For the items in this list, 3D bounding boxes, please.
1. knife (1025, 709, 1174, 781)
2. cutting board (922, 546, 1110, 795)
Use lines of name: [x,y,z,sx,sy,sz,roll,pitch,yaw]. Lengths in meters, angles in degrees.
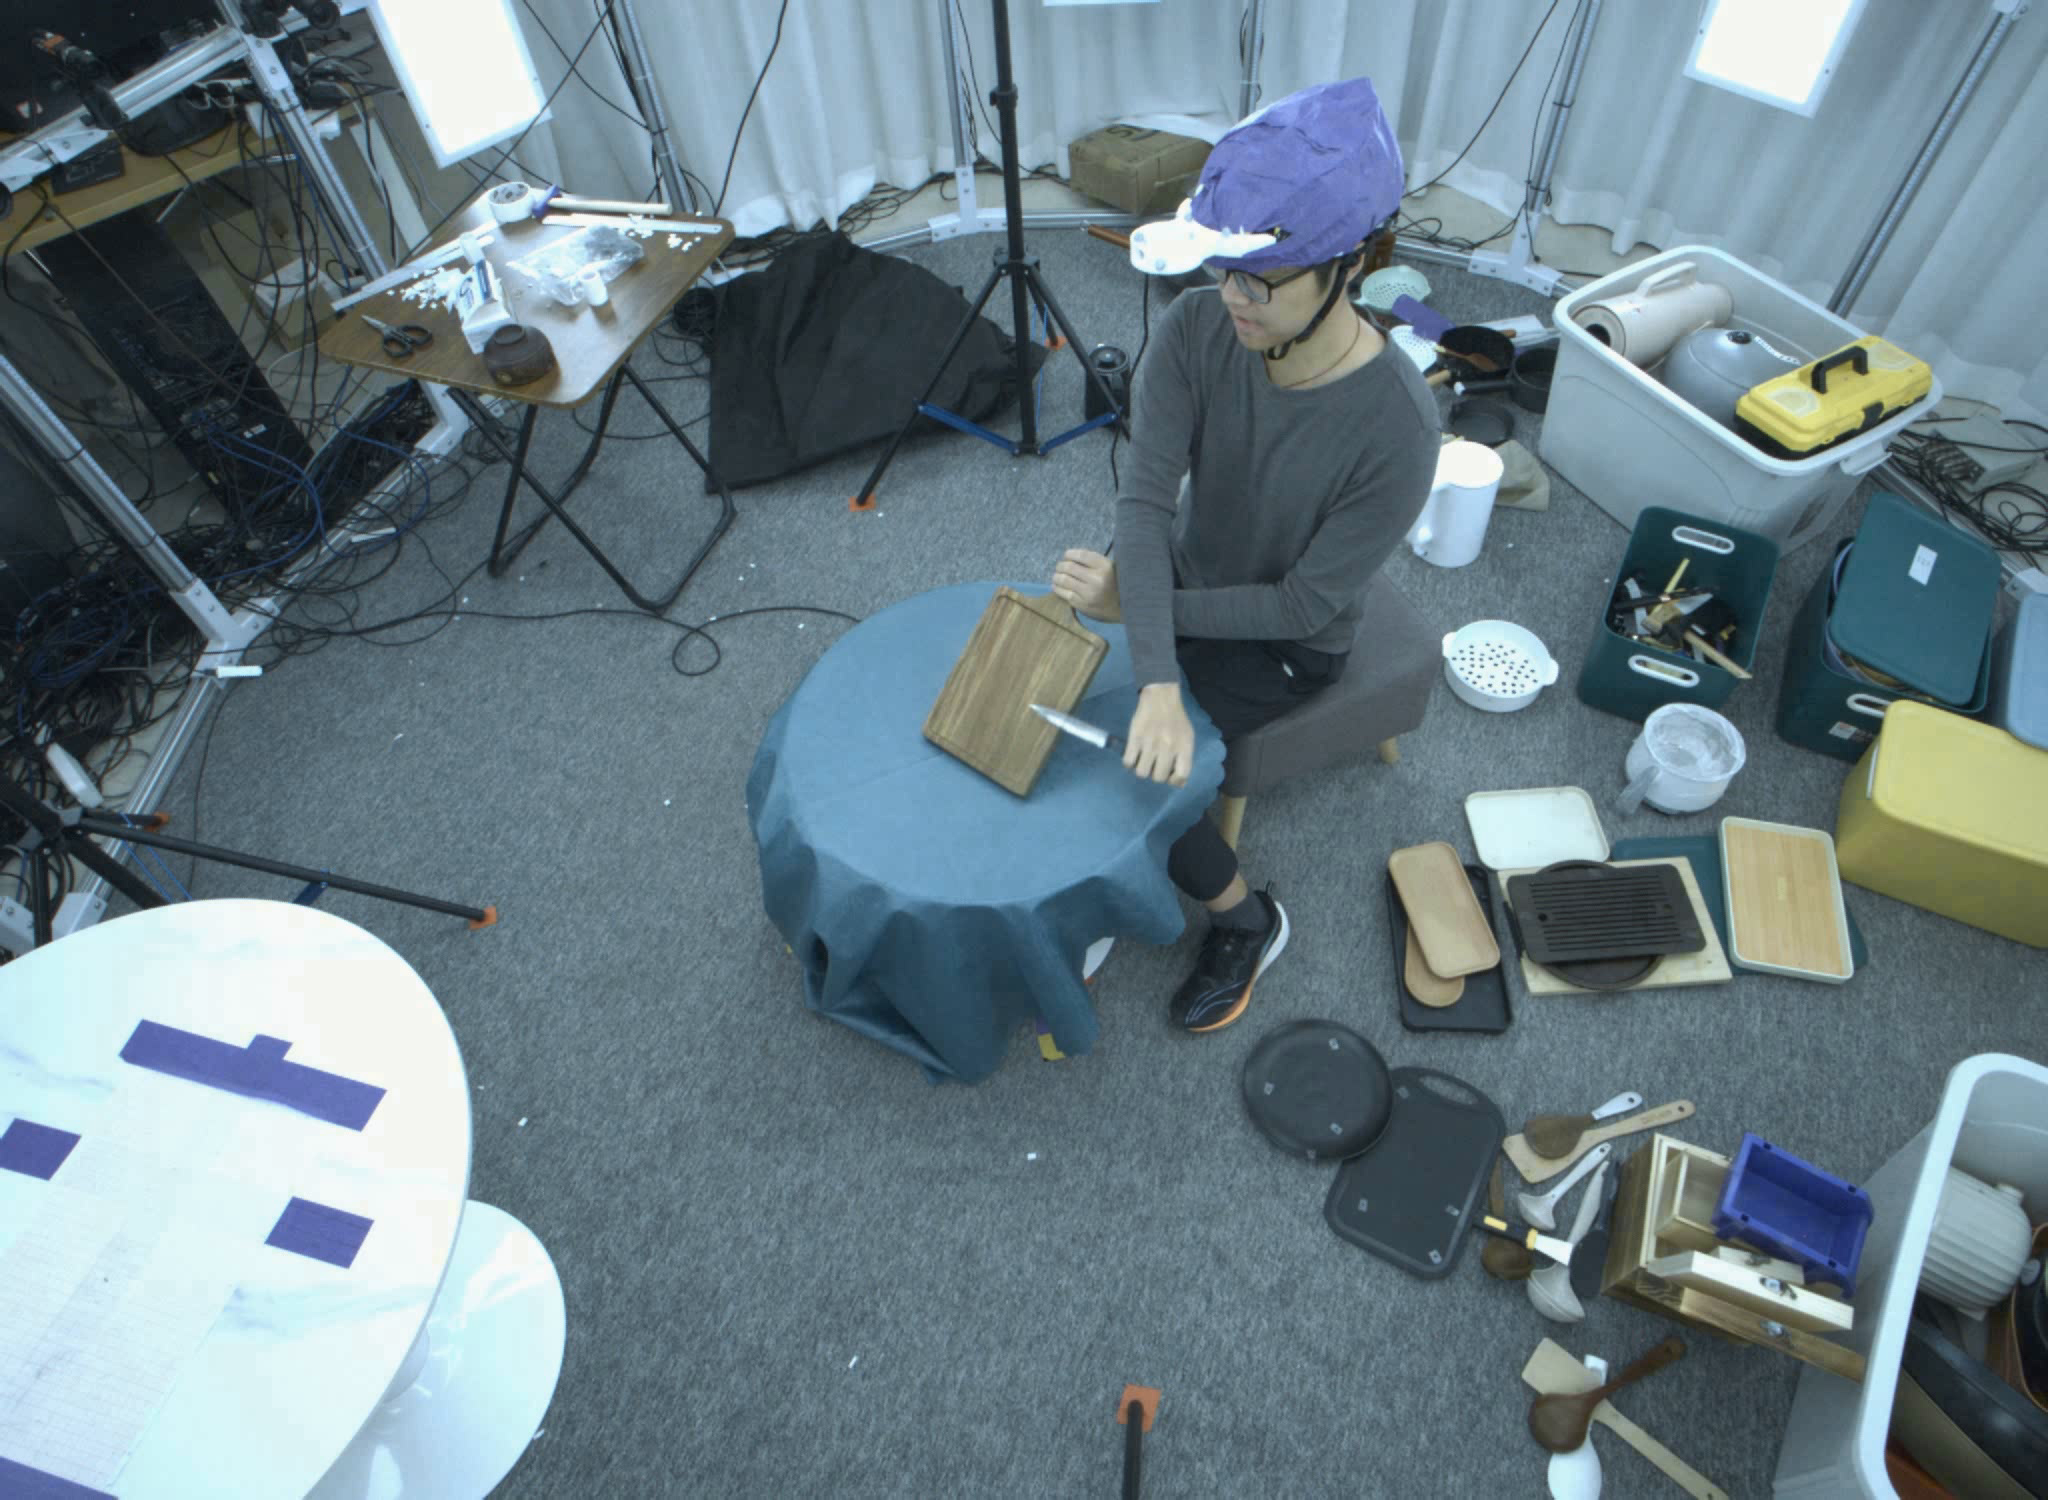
knife: [0.102,-0.013,1.690,0.234,0.016,0.024,25,99,21]
cutting board: [0.009,-0.131,1.758,0.198,0.023,0.352,31,95,22]
